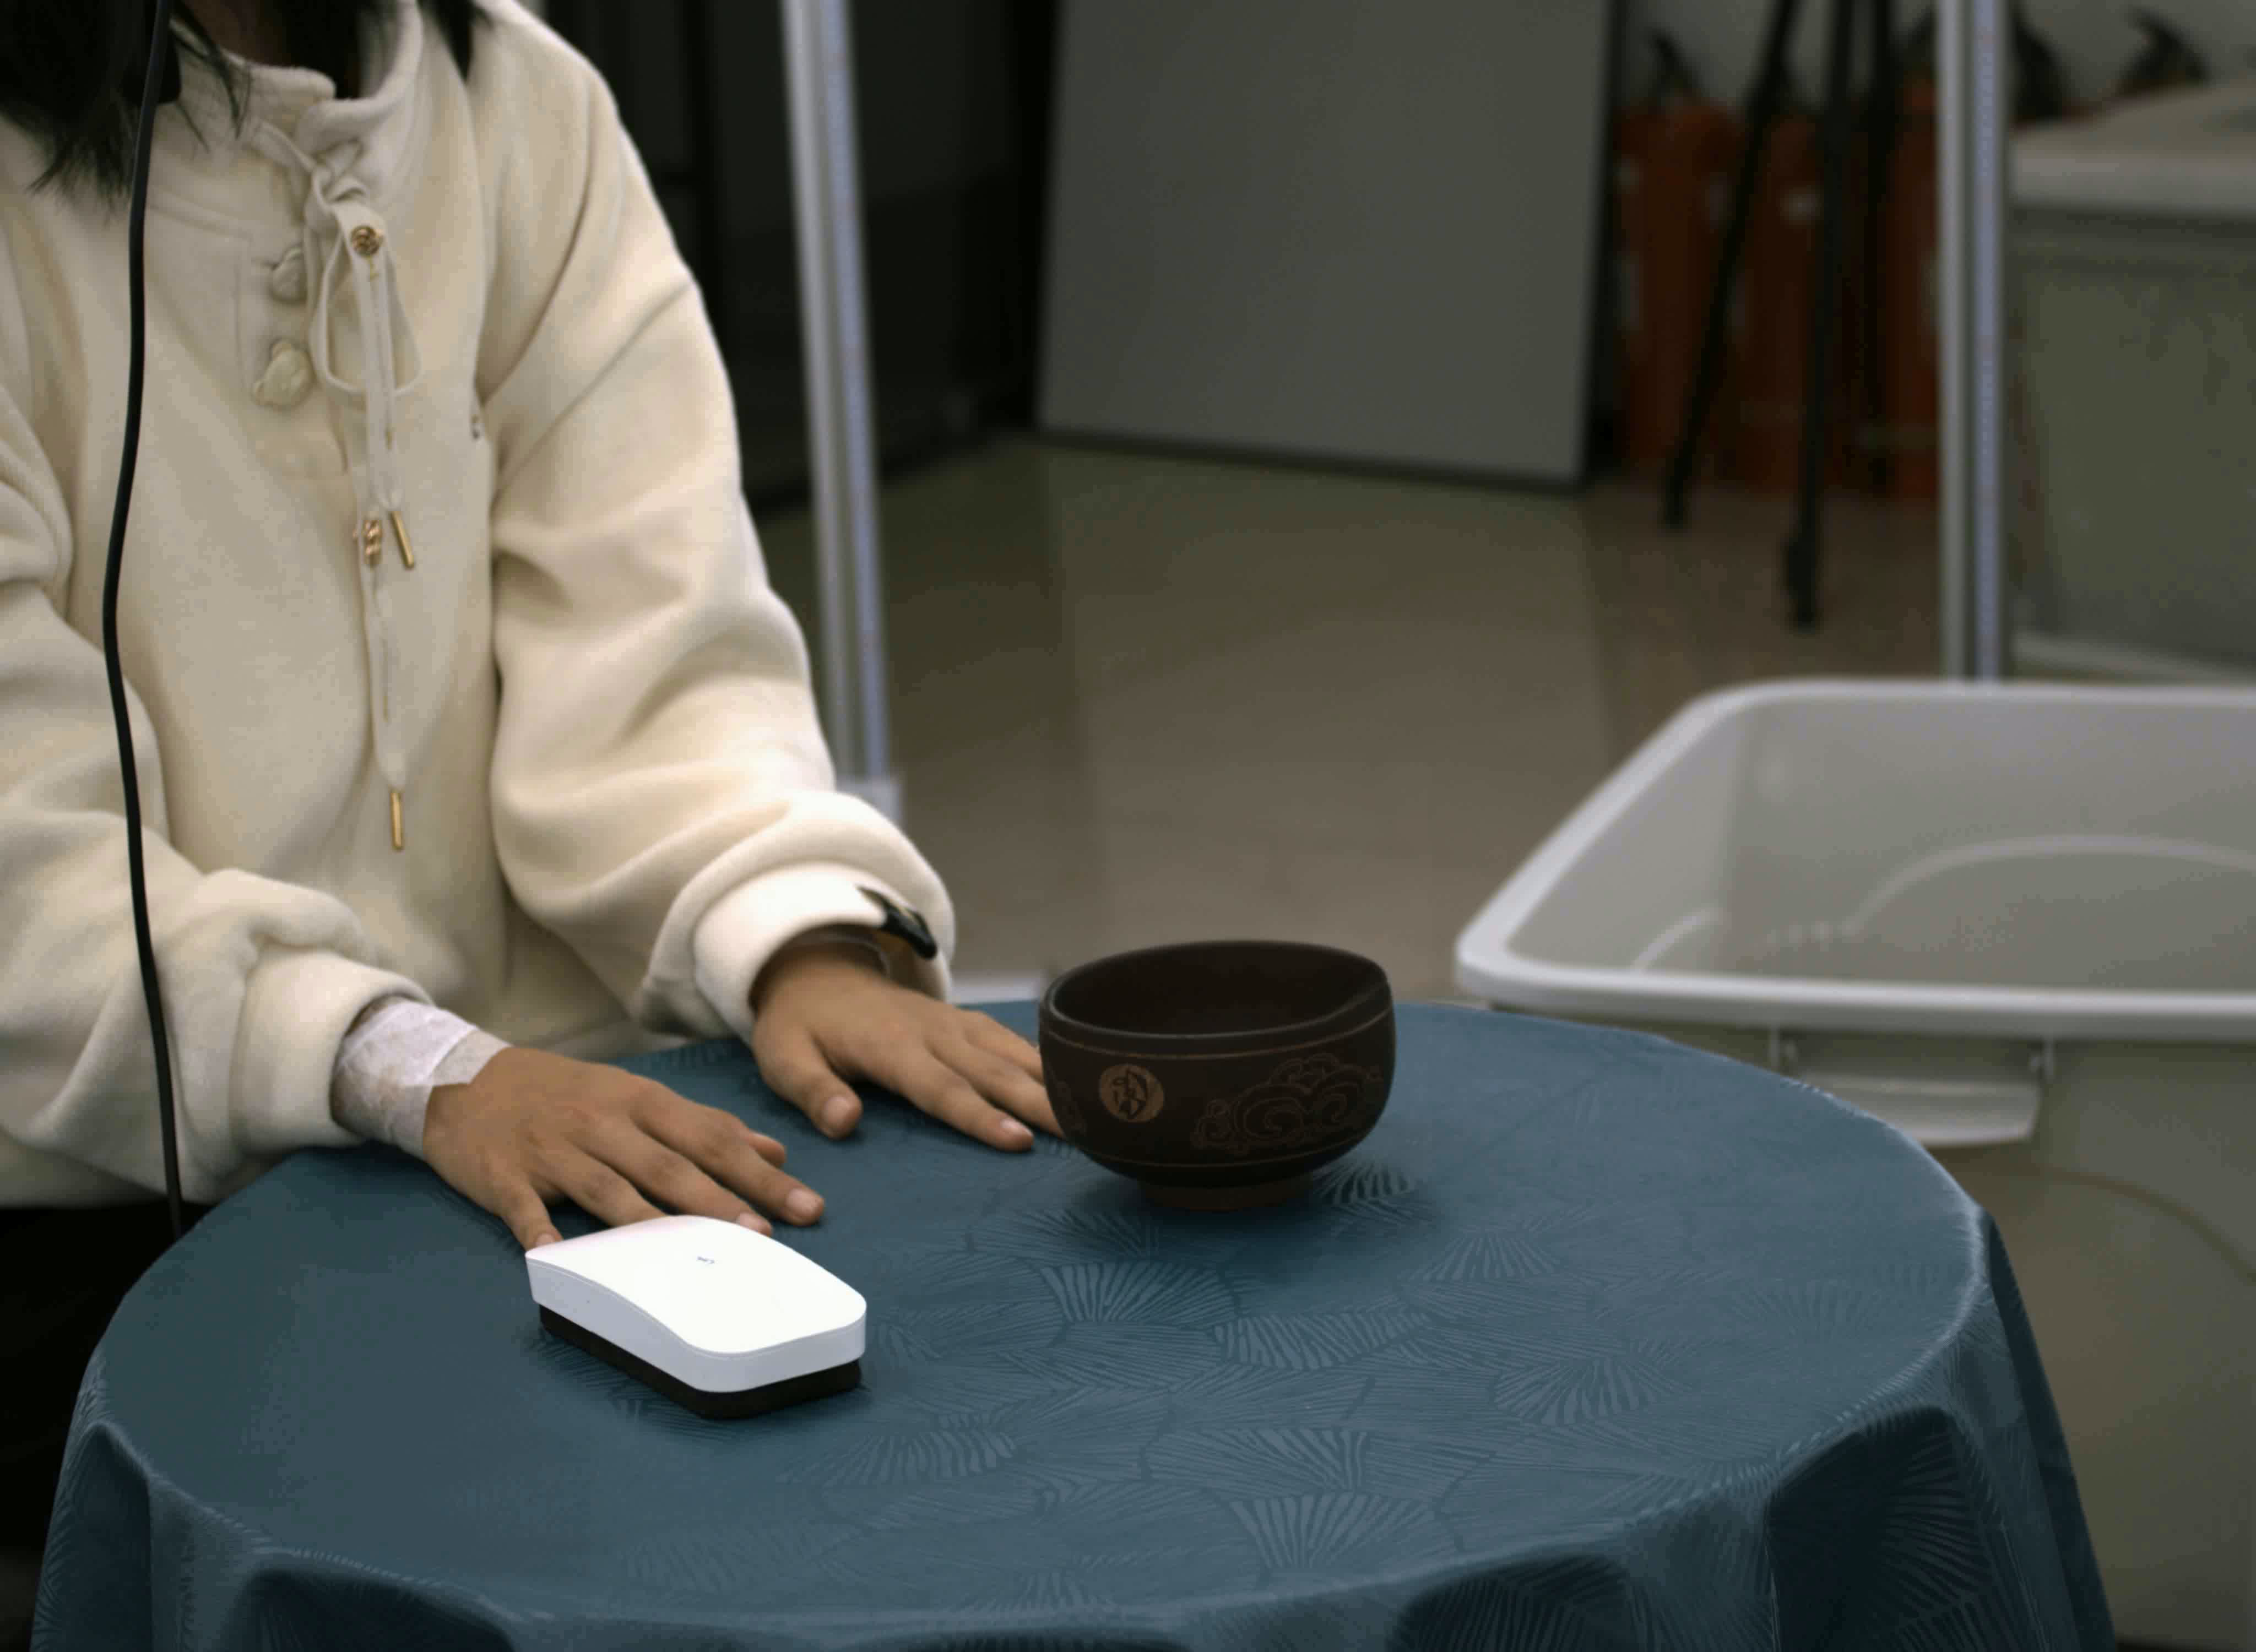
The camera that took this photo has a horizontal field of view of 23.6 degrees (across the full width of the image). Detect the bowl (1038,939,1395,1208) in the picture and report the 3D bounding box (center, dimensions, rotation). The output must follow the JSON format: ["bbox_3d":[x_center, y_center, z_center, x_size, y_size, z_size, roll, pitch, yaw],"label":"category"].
[{"bbox_3d":[0.030,0.084,1.761,0.116,0.070,0.118,-3,12,0],"label":"bowl"}]

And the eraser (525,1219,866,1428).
[{"bbox_3d":[-0.131,0.147,1.641,0.062,0.035,0.133,-11,16,-30],"label":"eraser"}]
